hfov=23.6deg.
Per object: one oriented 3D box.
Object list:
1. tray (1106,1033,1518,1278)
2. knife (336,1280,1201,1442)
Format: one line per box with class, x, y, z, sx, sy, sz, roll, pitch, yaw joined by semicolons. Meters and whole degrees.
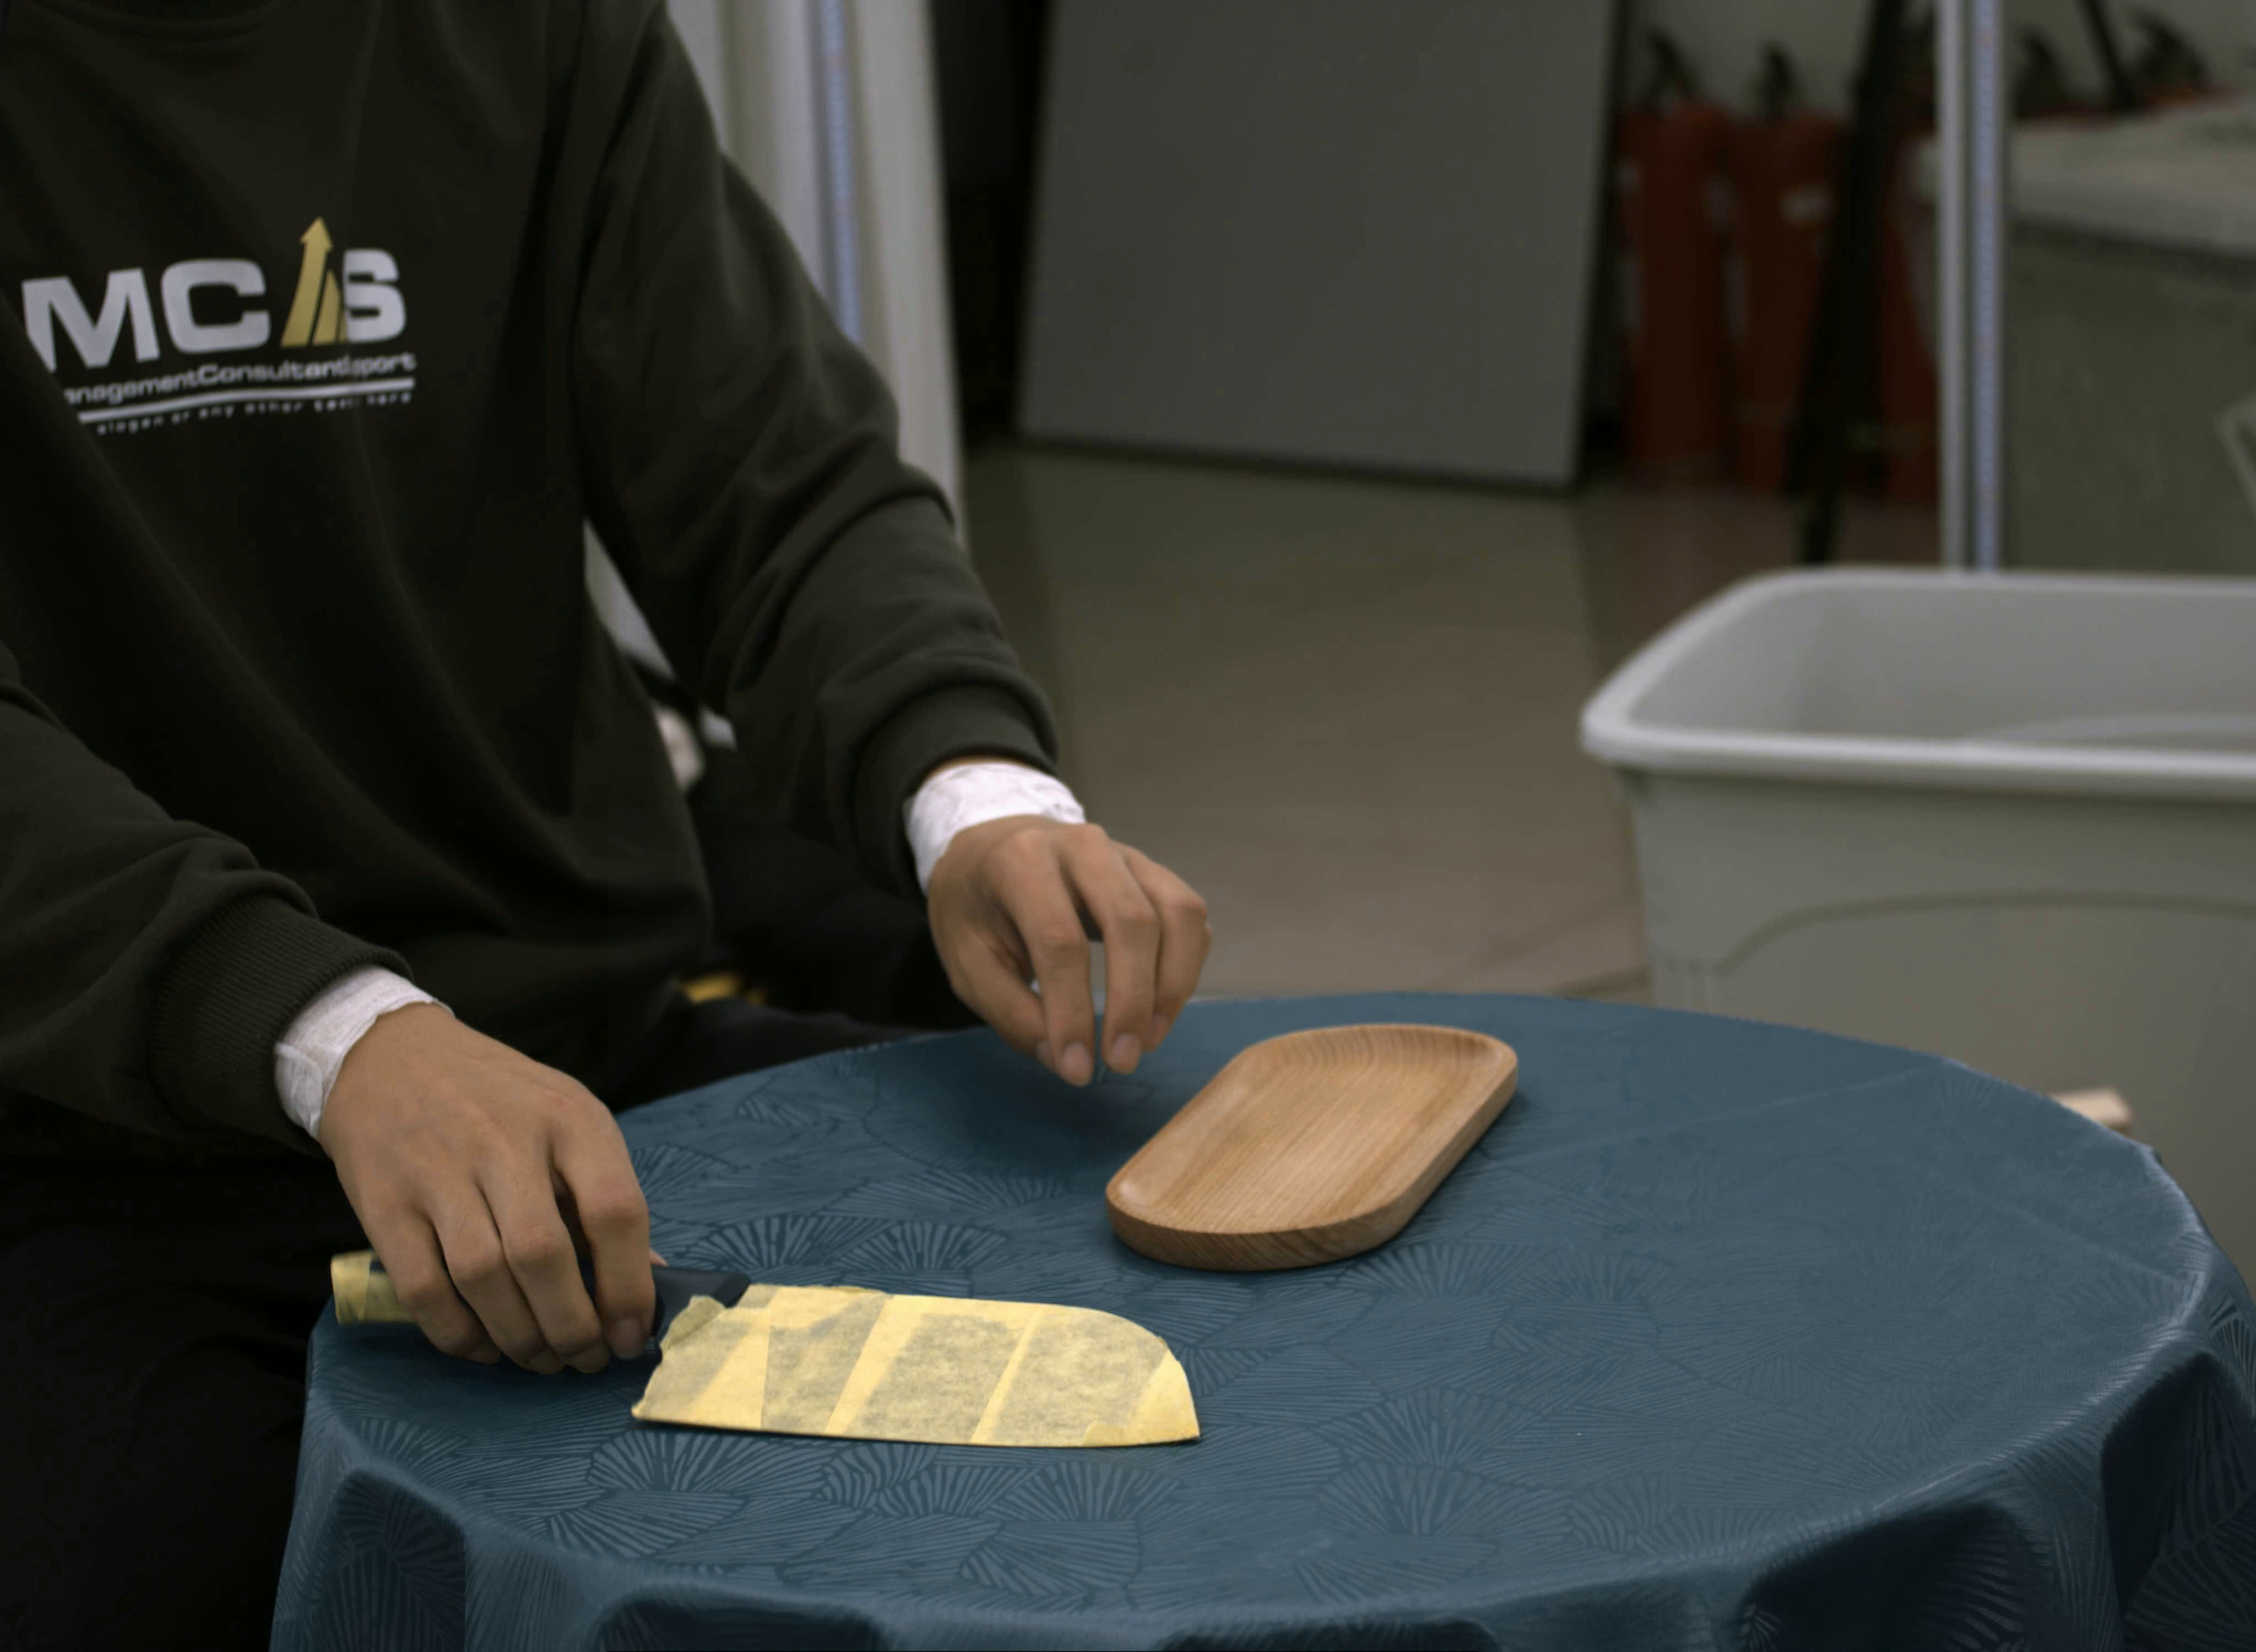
tray;0.064;0.107;1.782;0.101;0.020;0.229;-1;15;19
knife;-0.112;0.160;1.606;0.289;0.027;0.080;1;27;22
